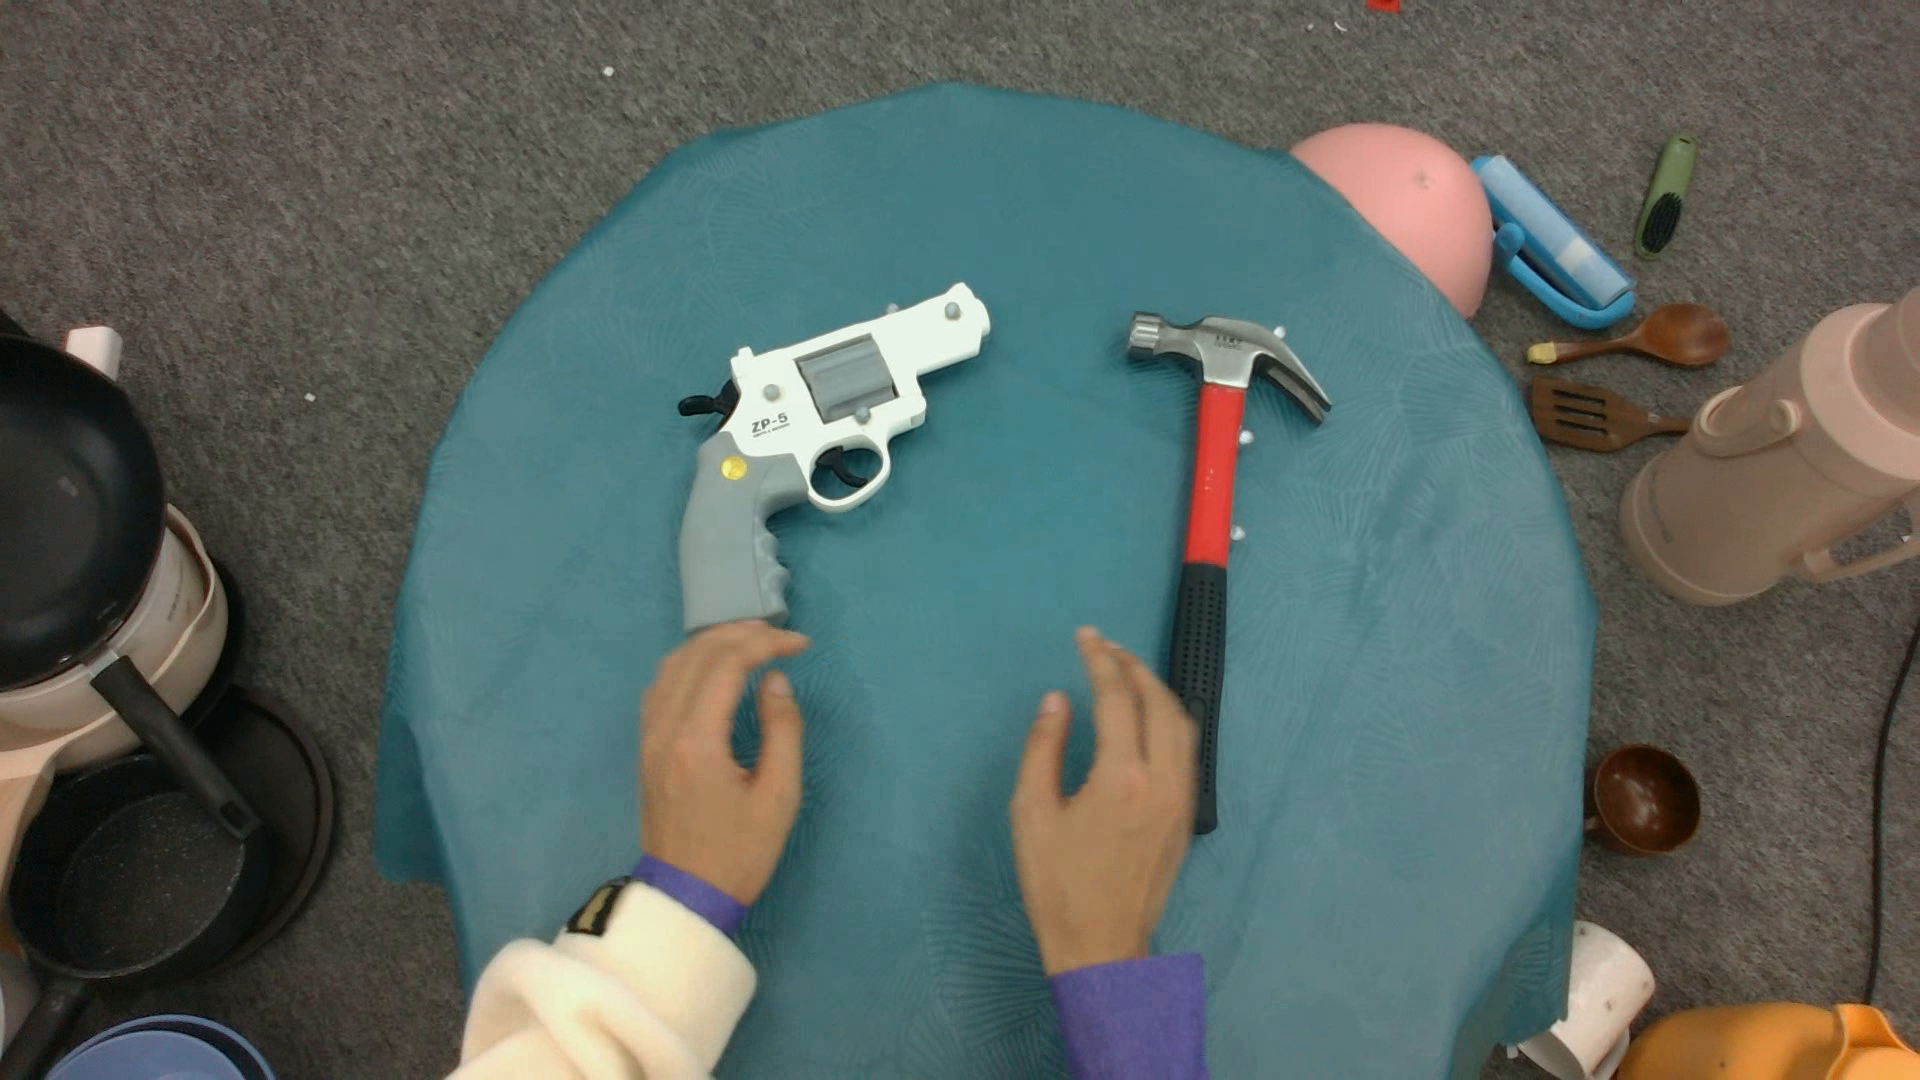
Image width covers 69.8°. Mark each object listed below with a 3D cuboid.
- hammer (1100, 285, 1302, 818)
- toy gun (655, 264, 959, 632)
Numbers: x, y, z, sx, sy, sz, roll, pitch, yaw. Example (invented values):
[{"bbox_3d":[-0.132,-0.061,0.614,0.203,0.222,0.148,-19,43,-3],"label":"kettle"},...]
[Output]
[{"bbox_3d":[0.114,0.001,0.697,0.111,0.026,0.278,13,67,-10],"label":"hammer"},{"bbox_3d":[-0.074,-0.052,0.695,0.209,0.038,0.142,-24,71,-14],"label":"toy gun"}]
